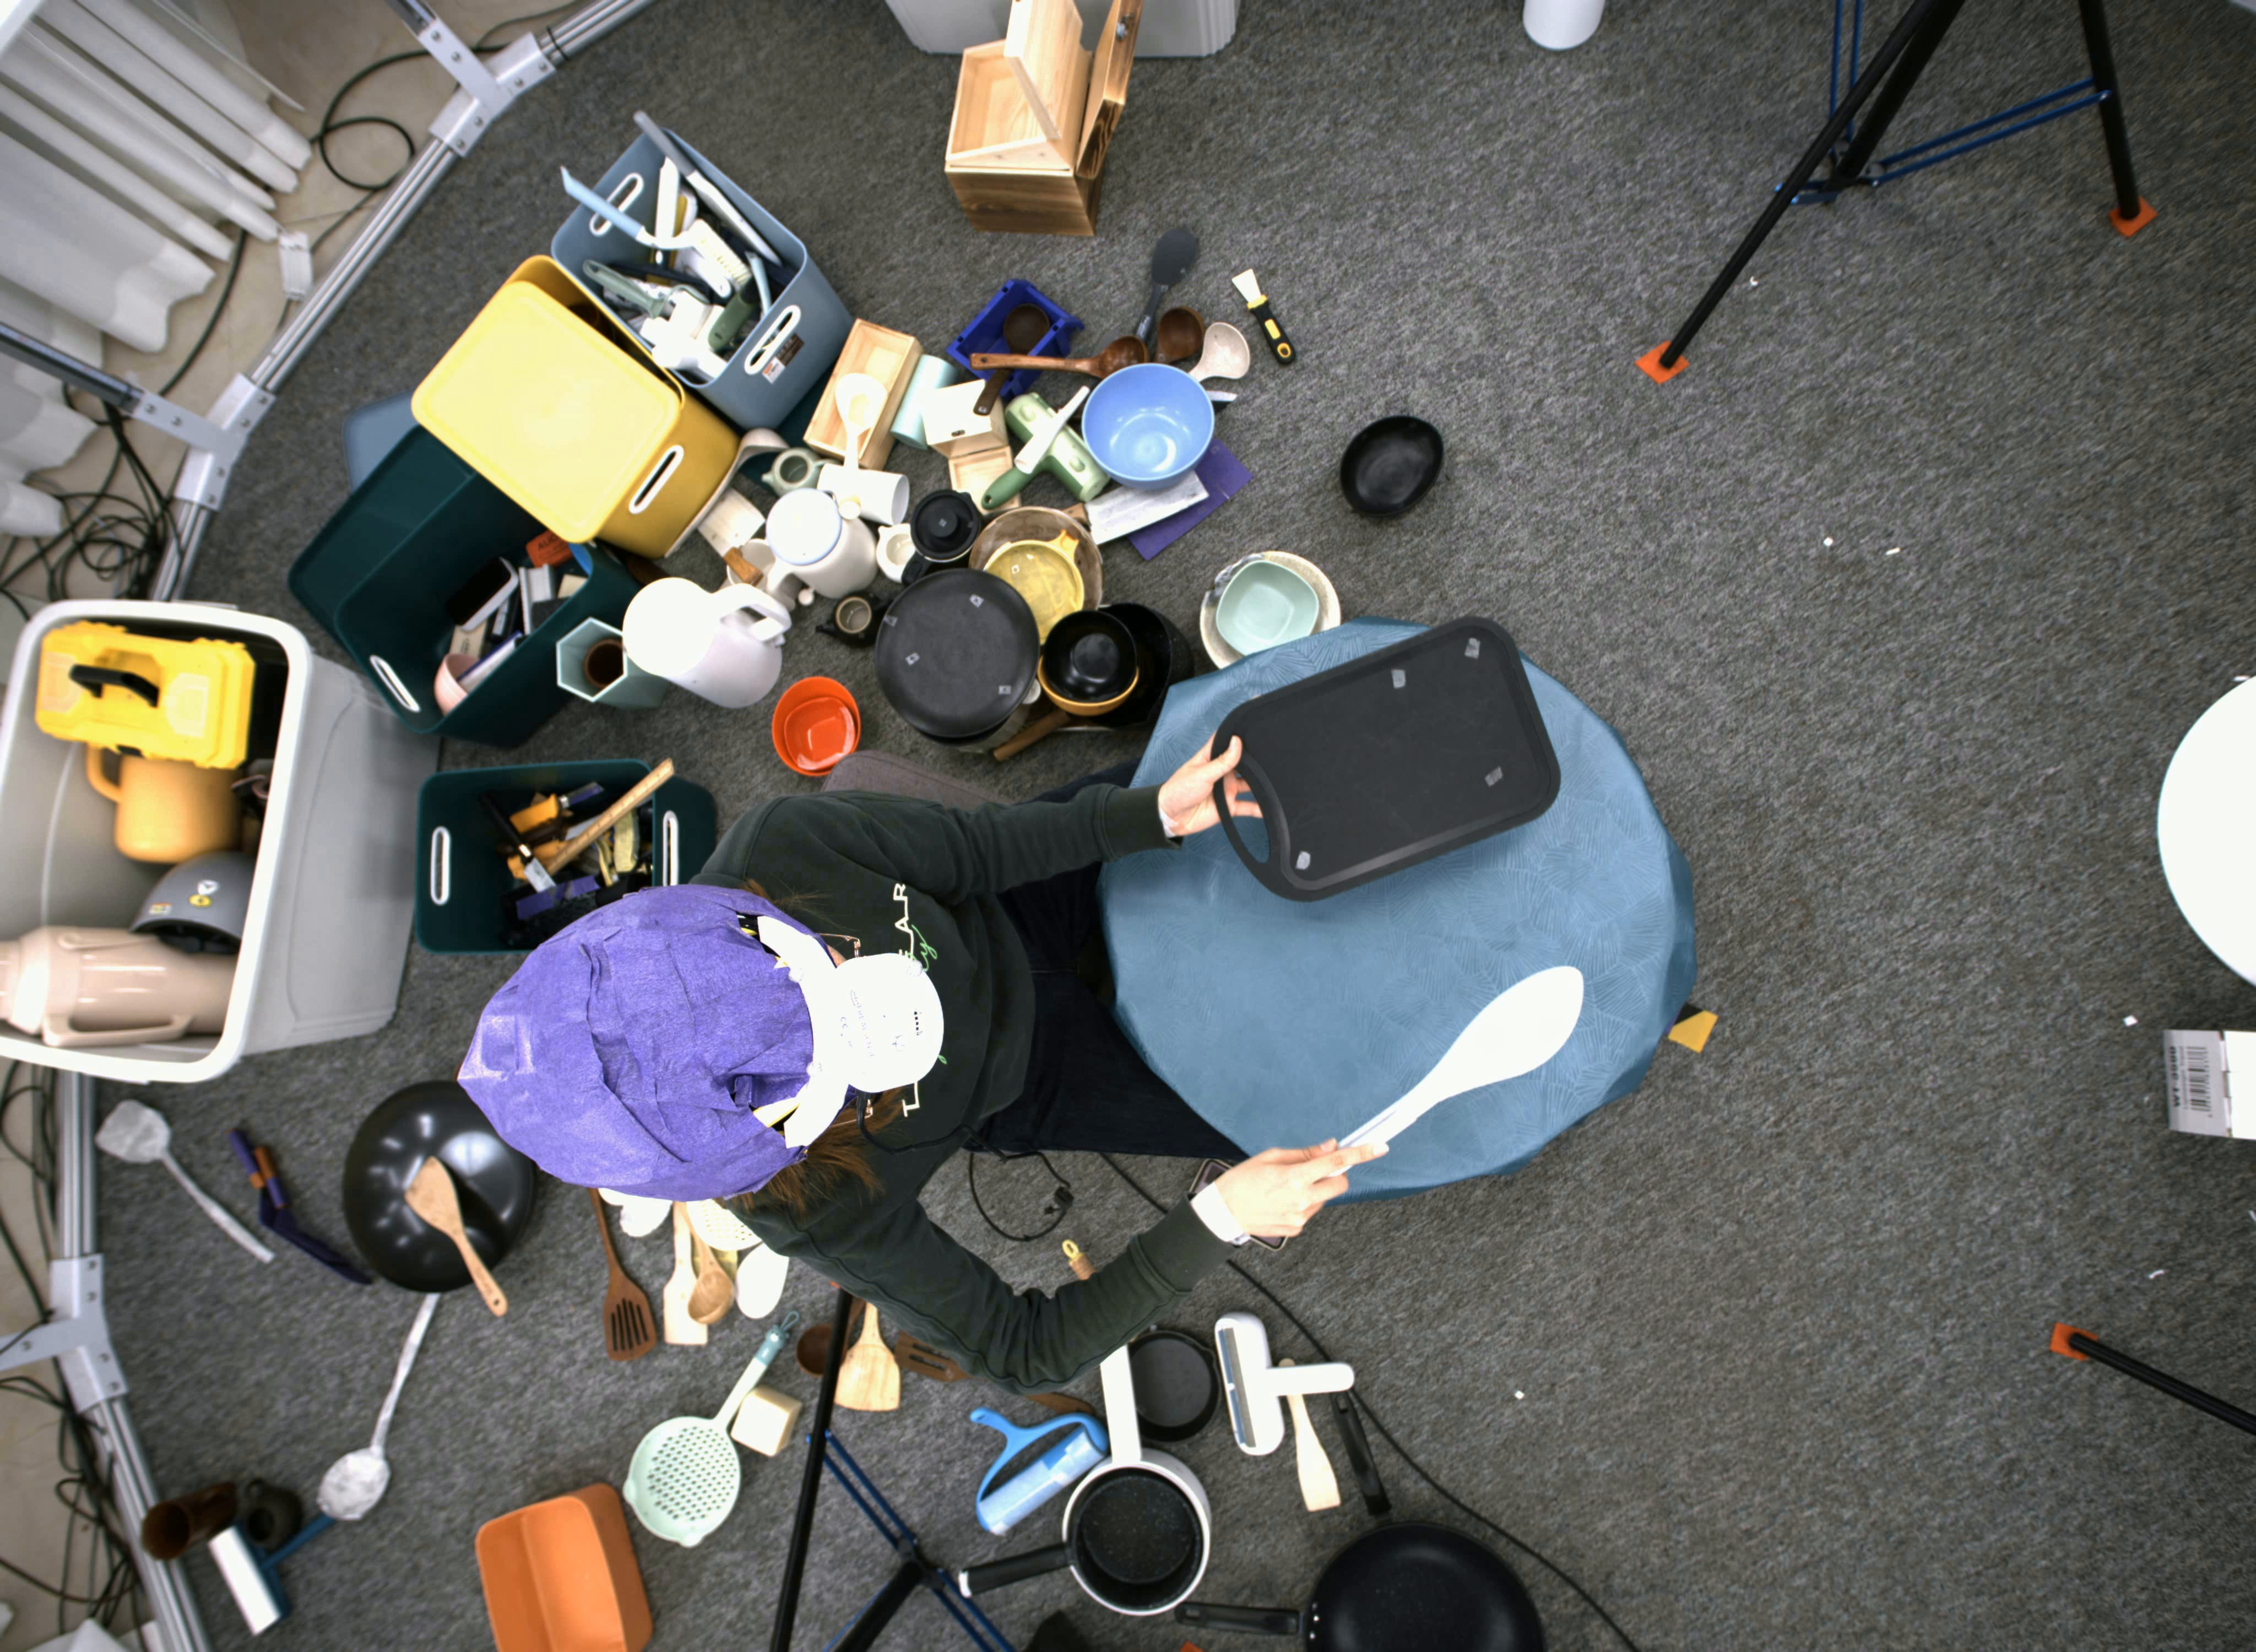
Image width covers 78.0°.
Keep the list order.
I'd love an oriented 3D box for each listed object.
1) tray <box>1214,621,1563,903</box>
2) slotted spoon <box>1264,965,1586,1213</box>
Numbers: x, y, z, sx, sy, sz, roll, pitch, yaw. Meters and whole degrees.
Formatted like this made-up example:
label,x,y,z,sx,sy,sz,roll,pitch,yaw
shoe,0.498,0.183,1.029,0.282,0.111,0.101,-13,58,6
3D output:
label,x,y,z,sx,sy,sz,roll,pitch,yaw
tray,0.247,-0.057,1.340,0.327,0.009,0.212,-21,97,8
slotted spoon,0.260,0.235,1.219,0.353,0.134,0.046,-34,97,13
